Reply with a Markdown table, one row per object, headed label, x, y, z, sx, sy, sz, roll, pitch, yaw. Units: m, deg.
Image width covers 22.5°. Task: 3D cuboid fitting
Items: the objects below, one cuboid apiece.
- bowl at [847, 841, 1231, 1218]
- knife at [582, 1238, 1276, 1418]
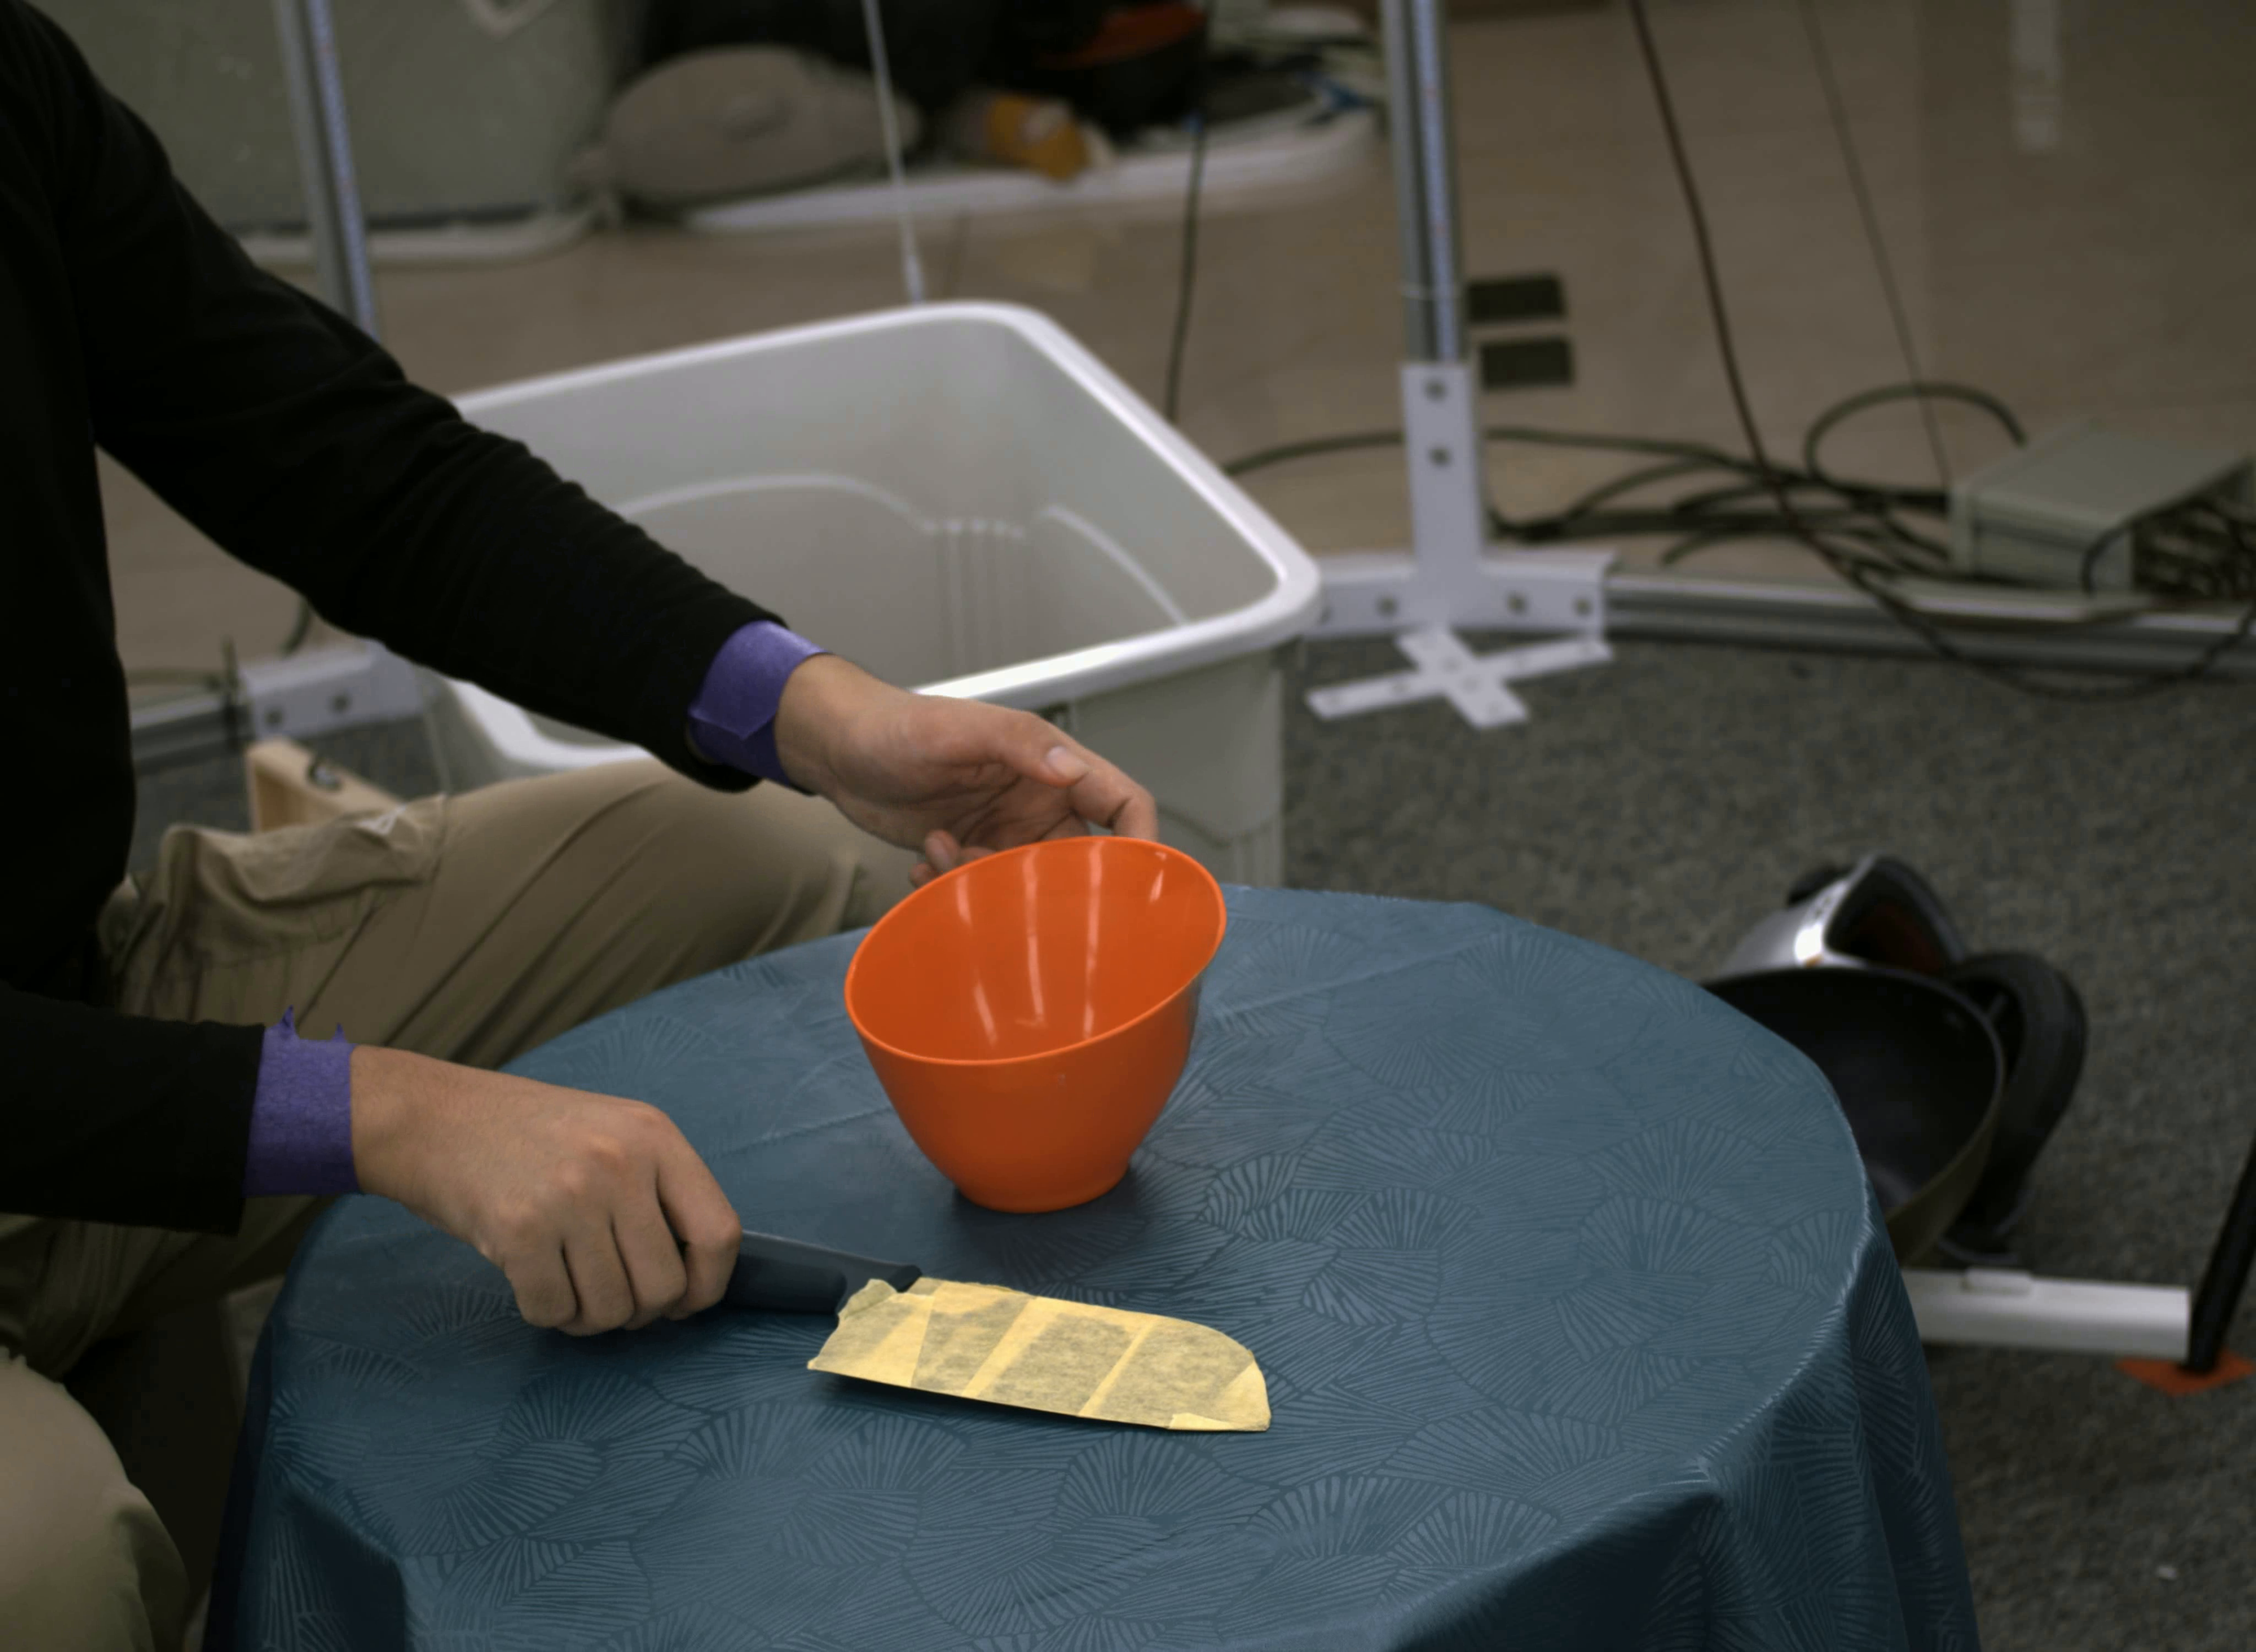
| label | x | y | z | sx | sy | sz | roll | pitch | yaw |
| --- | --- | --- | --- | --- | --- | --- | --- | --- | --- |
| bowl | -0.029 | 0.084 | 2.155 | 0.148 | 0.106 | 0.146 | -5 | 26 | 3 |
| knife | -0.079 | 0.183 | 2.057 | 0.288 | 0.027 | 0.080 | 7 | 25 | 24 |
